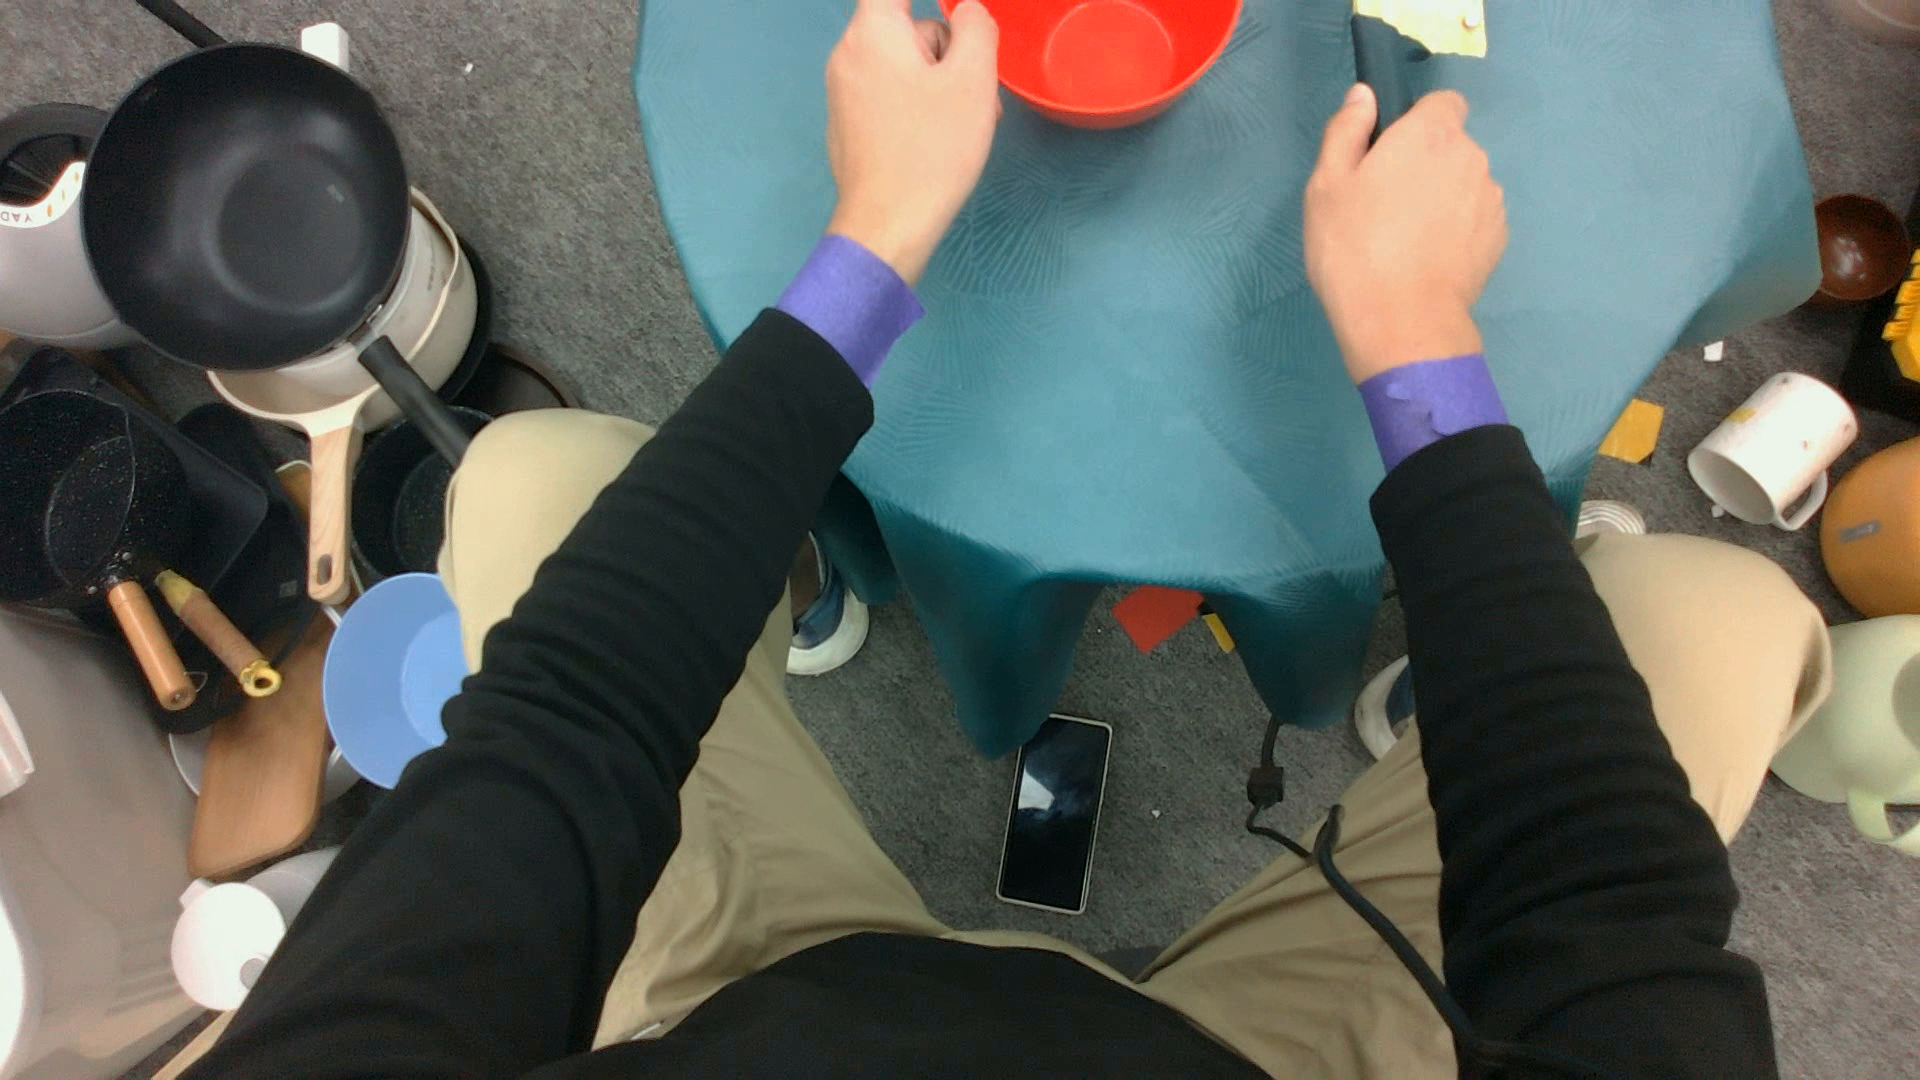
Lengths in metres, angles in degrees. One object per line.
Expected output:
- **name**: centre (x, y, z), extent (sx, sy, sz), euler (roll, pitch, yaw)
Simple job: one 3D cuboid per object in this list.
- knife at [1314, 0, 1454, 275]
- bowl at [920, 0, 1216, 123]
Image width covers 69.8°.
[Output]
- **knife**: centre (0.210, -0.270, 0.693), extent (0.081, 0.027, 0.290), euler (2, 78, -10)
- **bowl**: centre (0.054, -0.270, 0.696), extent (0.148, 0.104, 0.148), euler (-1, 80, 3)
